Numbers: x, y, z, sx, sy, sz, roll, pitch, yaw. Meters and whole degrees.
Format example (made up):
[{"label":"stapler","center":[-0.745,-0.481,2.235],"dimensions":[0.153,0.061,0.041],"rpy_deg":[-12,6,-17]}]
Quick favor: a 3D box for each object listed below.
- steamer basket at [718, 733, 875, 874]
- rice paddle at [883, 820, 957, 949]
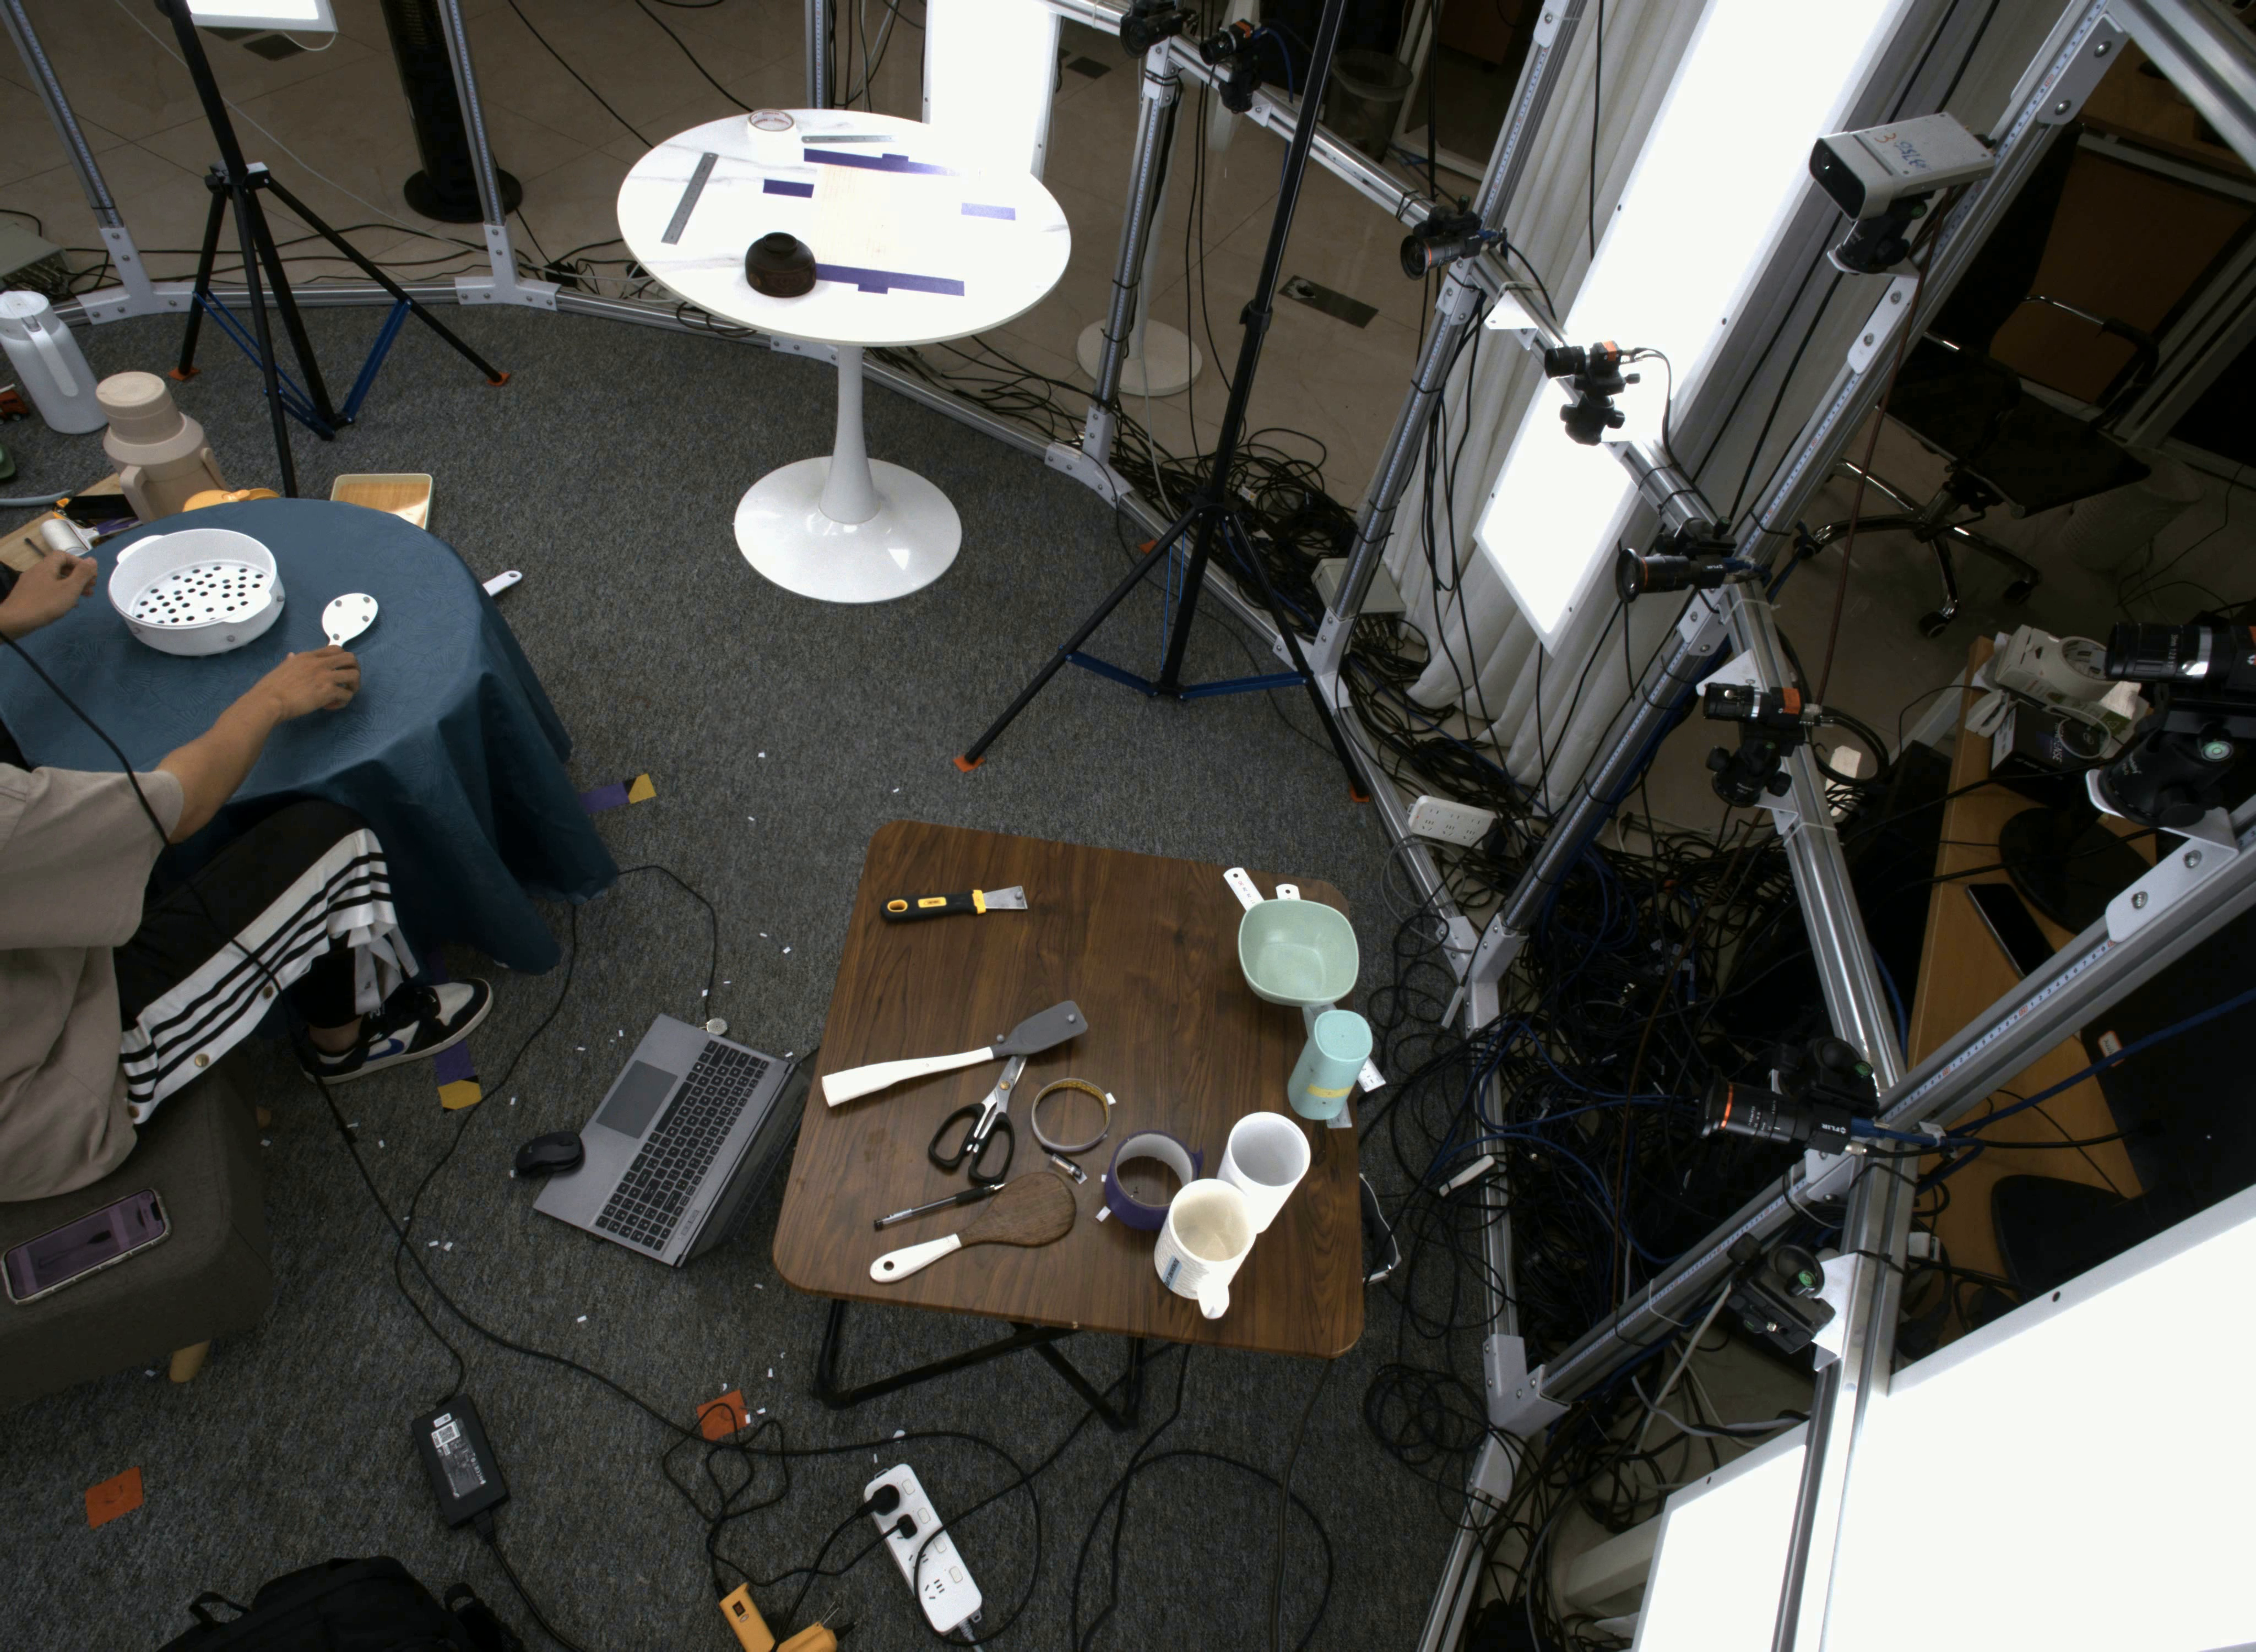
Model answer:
[{"label":"steamer basket","center":[-0.436,-0.029,1.714],"dimensions":[0.225,0.071,0.202],"rpy_deg":[38,54,19]},{"label":"rice paddle","center":[-0.274,0.067,1.700],"dimensions":[0.068,0.030,0.202],"rpy_deg":[16,52,-2]}]
